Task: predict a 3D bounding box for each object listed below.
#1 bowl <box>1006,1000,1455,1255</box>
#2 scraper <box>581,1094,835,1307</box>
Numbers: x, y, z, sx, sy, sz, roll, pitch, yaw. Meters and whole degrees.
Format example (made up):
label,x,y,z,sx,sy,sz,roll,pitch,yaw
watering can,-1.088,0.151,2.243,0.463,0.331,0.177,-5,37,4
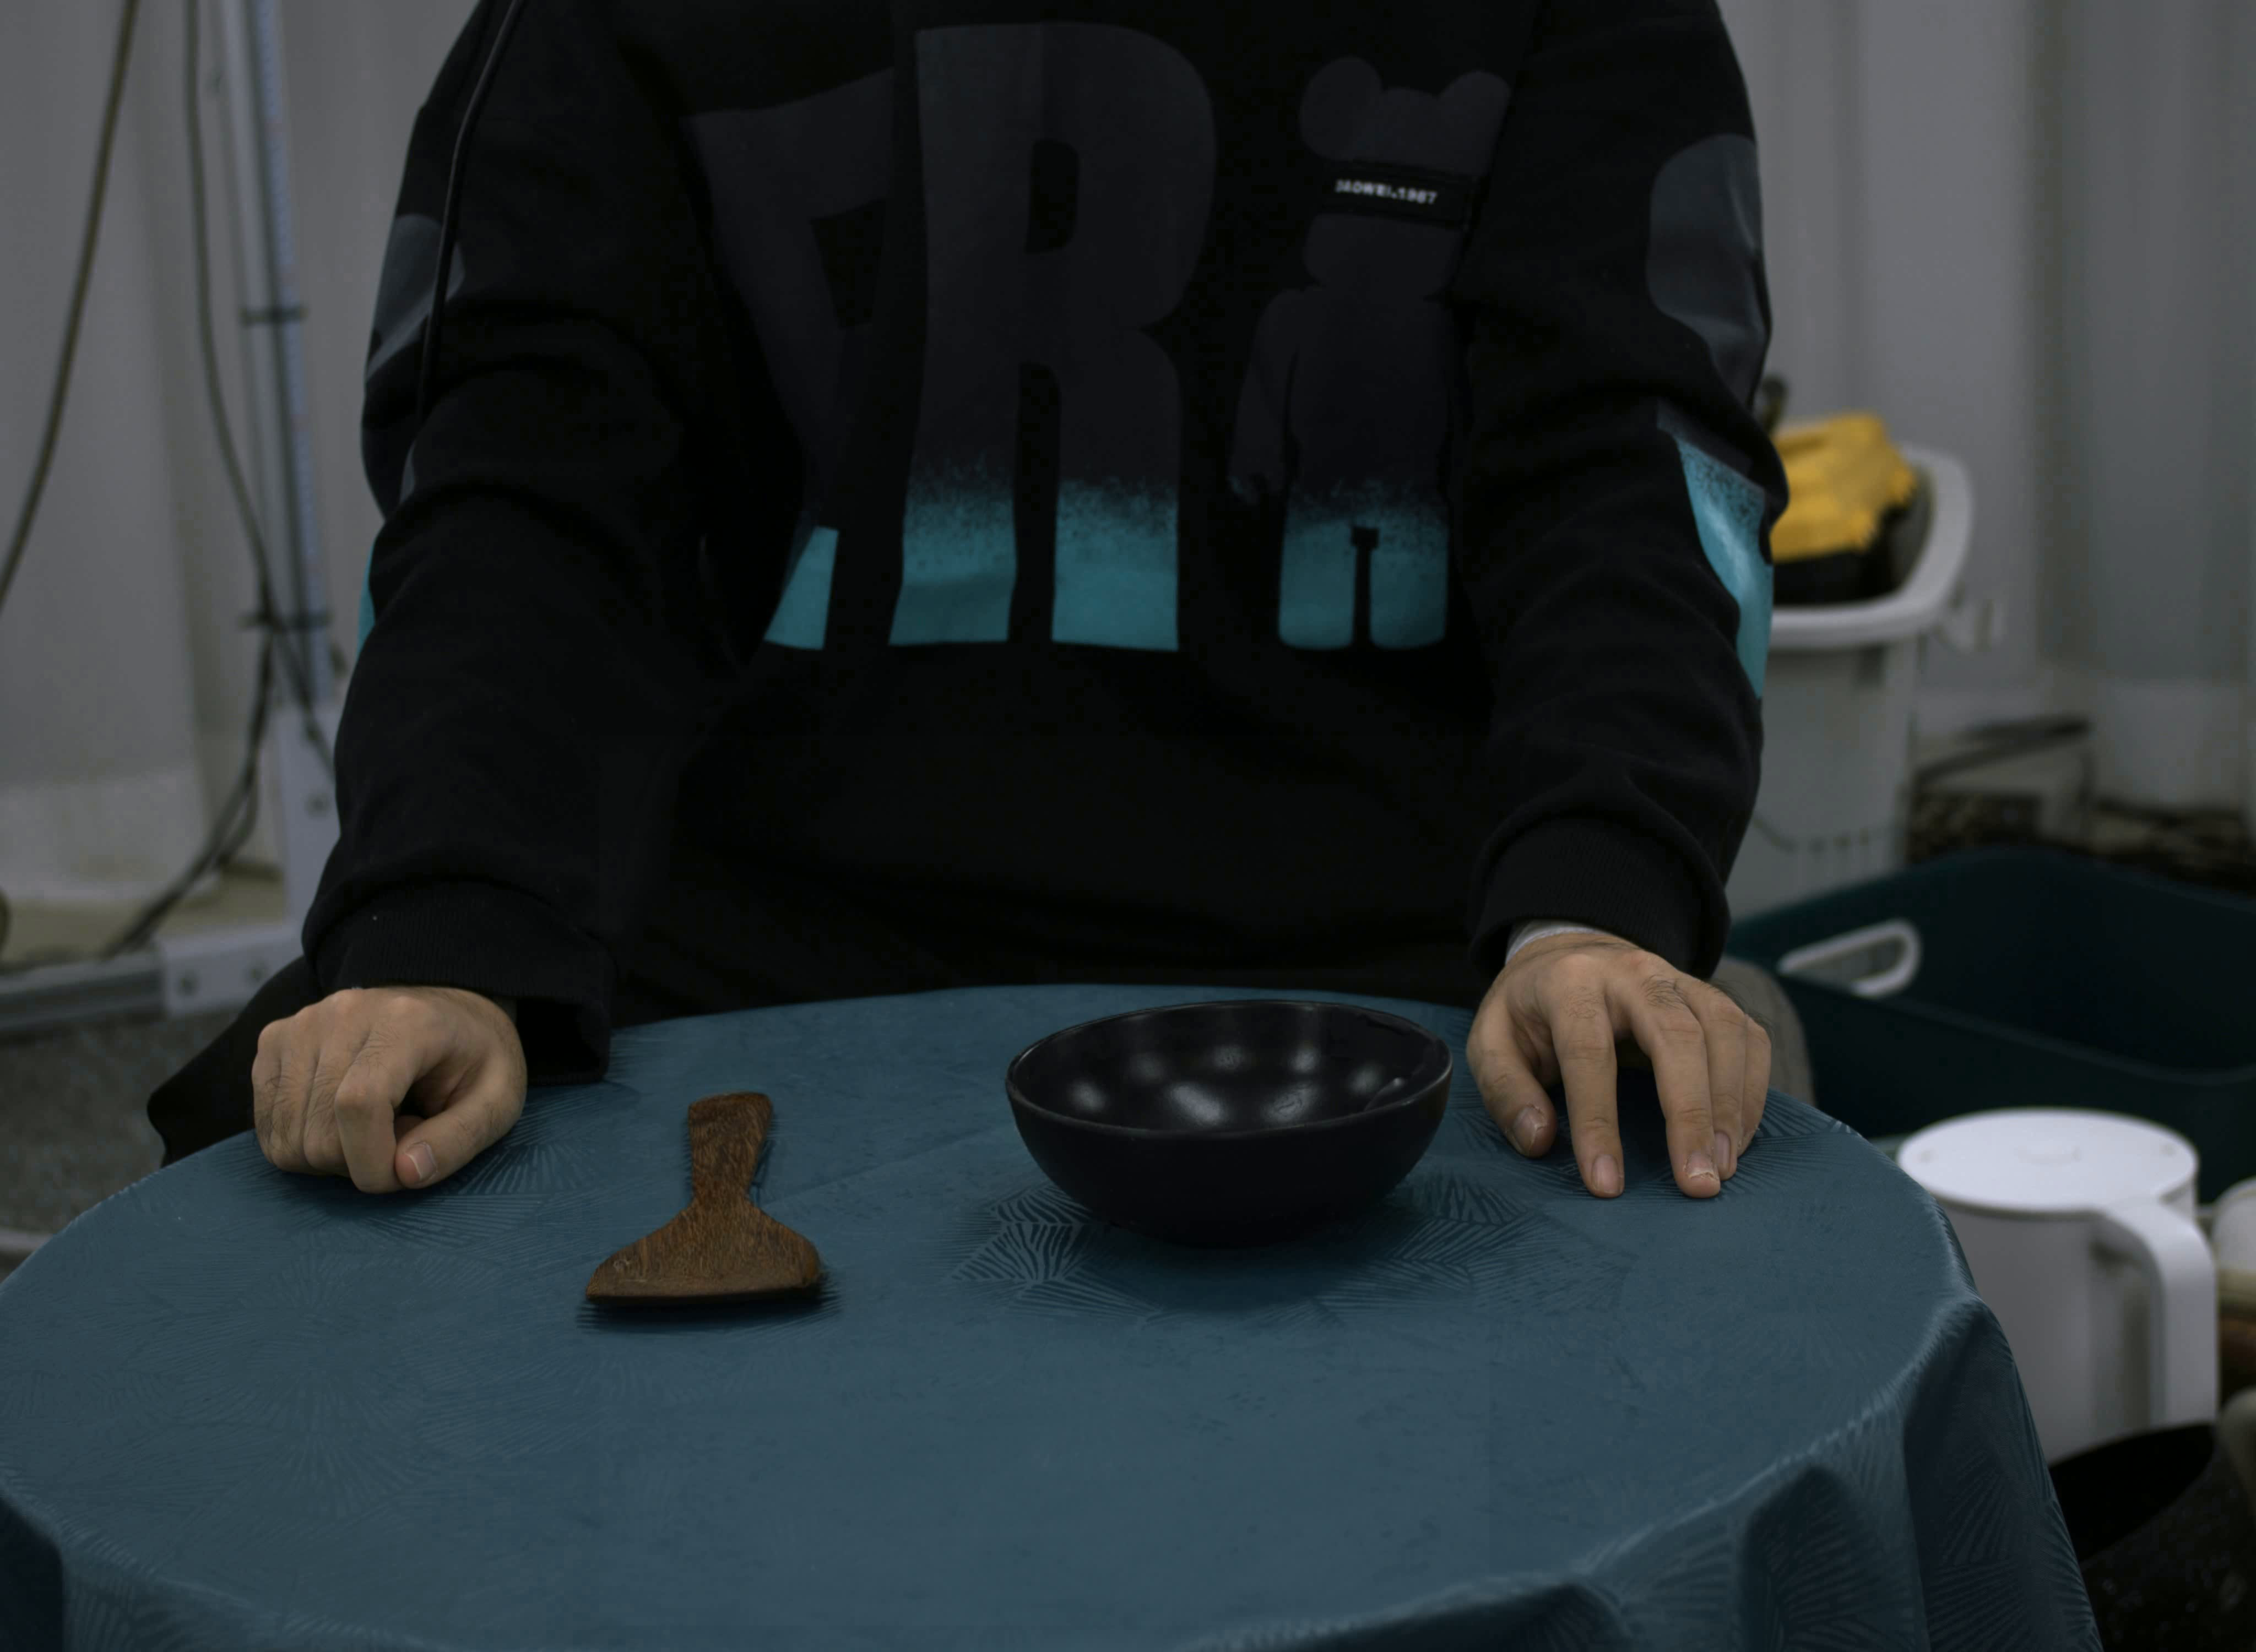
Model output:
label,x,y,z,sx,sy,sz,roll,pitch,yaw
bowl,0.034,0.097,1.682,0.139,0.049,0.141,-5,14,1
scraper,-0.128,0.117,1.716,0.075,0.011,0.212,-2,14,-1
